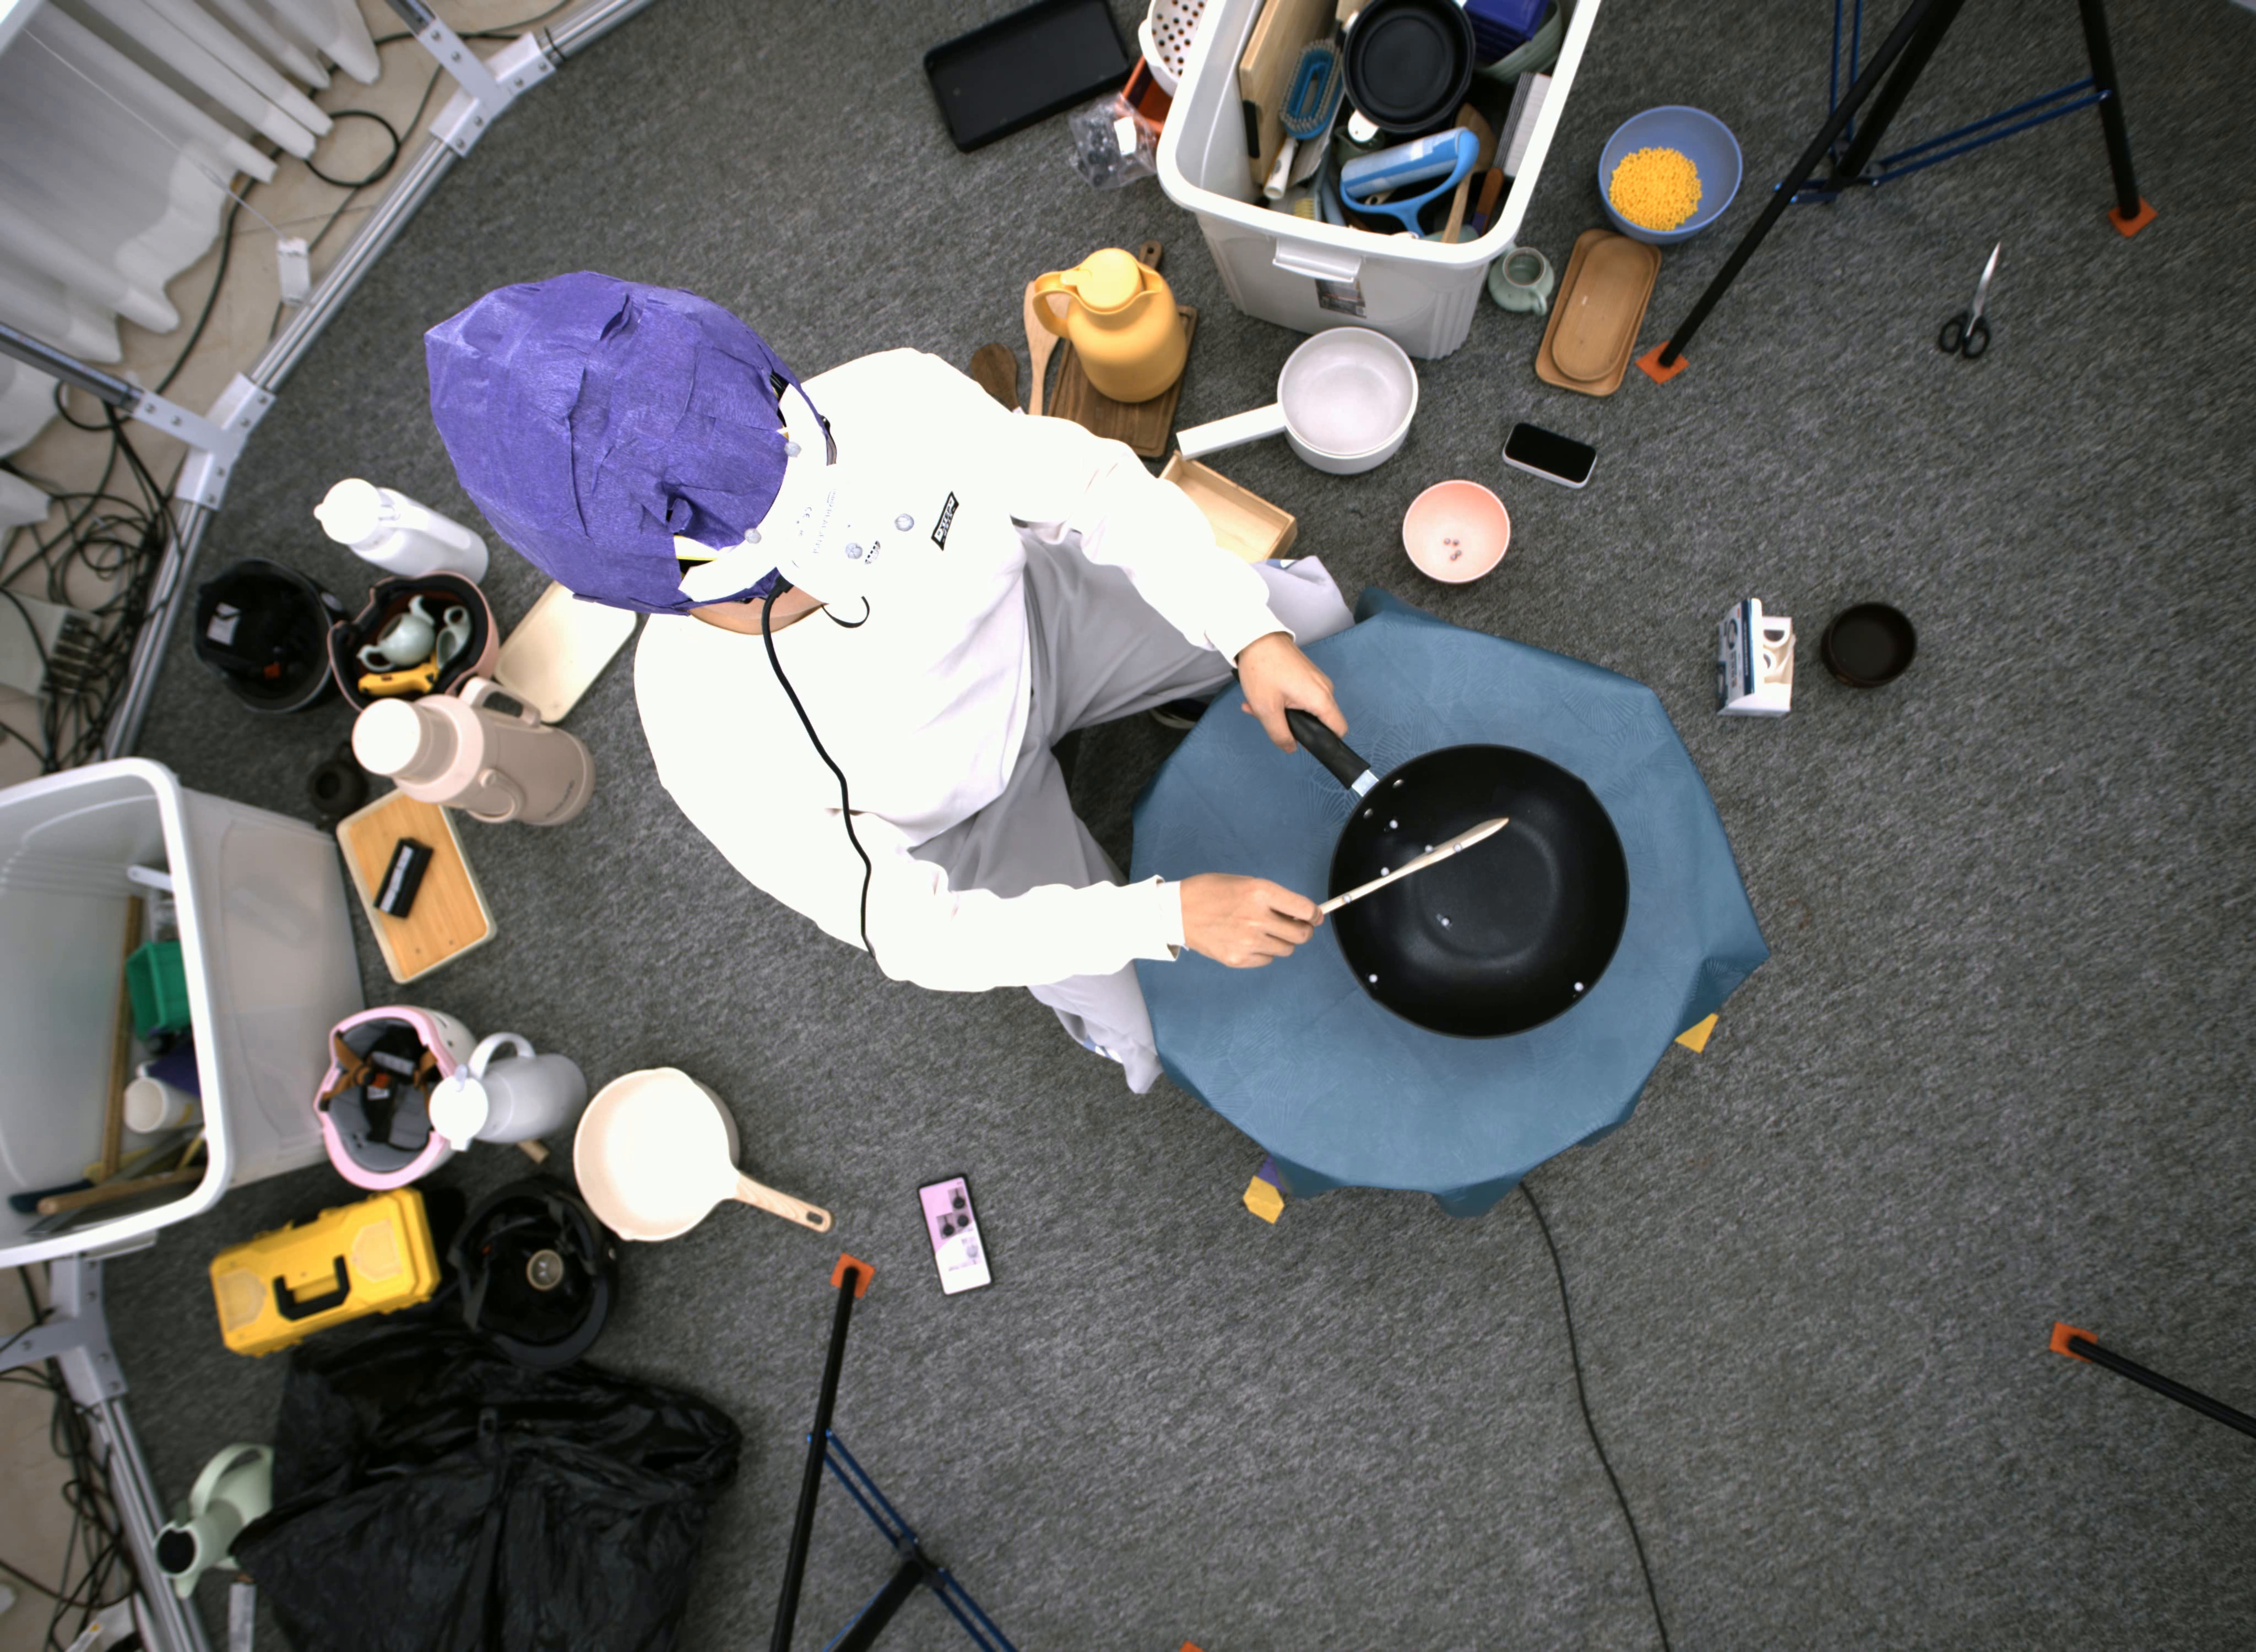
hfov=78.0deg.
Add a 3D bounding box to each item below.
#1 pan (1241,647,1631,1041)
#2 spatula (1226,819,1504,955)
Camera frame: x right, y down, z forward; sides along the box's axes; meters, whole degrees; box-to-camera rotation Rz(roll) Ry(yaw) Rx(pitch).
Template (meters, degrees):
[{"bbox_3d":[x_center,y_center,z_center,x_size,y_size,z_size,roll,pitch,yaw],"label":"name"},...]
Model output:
[{"bbox_3d":[0.279,-0.003,1.352,0.460,0.086,0.292,47,108,14],"label":"pan"},{"bbox_3d":[0.225,0.058,1.320,0.292,0.072,0.010,-25,92,-5],"label":"spatula"}]
